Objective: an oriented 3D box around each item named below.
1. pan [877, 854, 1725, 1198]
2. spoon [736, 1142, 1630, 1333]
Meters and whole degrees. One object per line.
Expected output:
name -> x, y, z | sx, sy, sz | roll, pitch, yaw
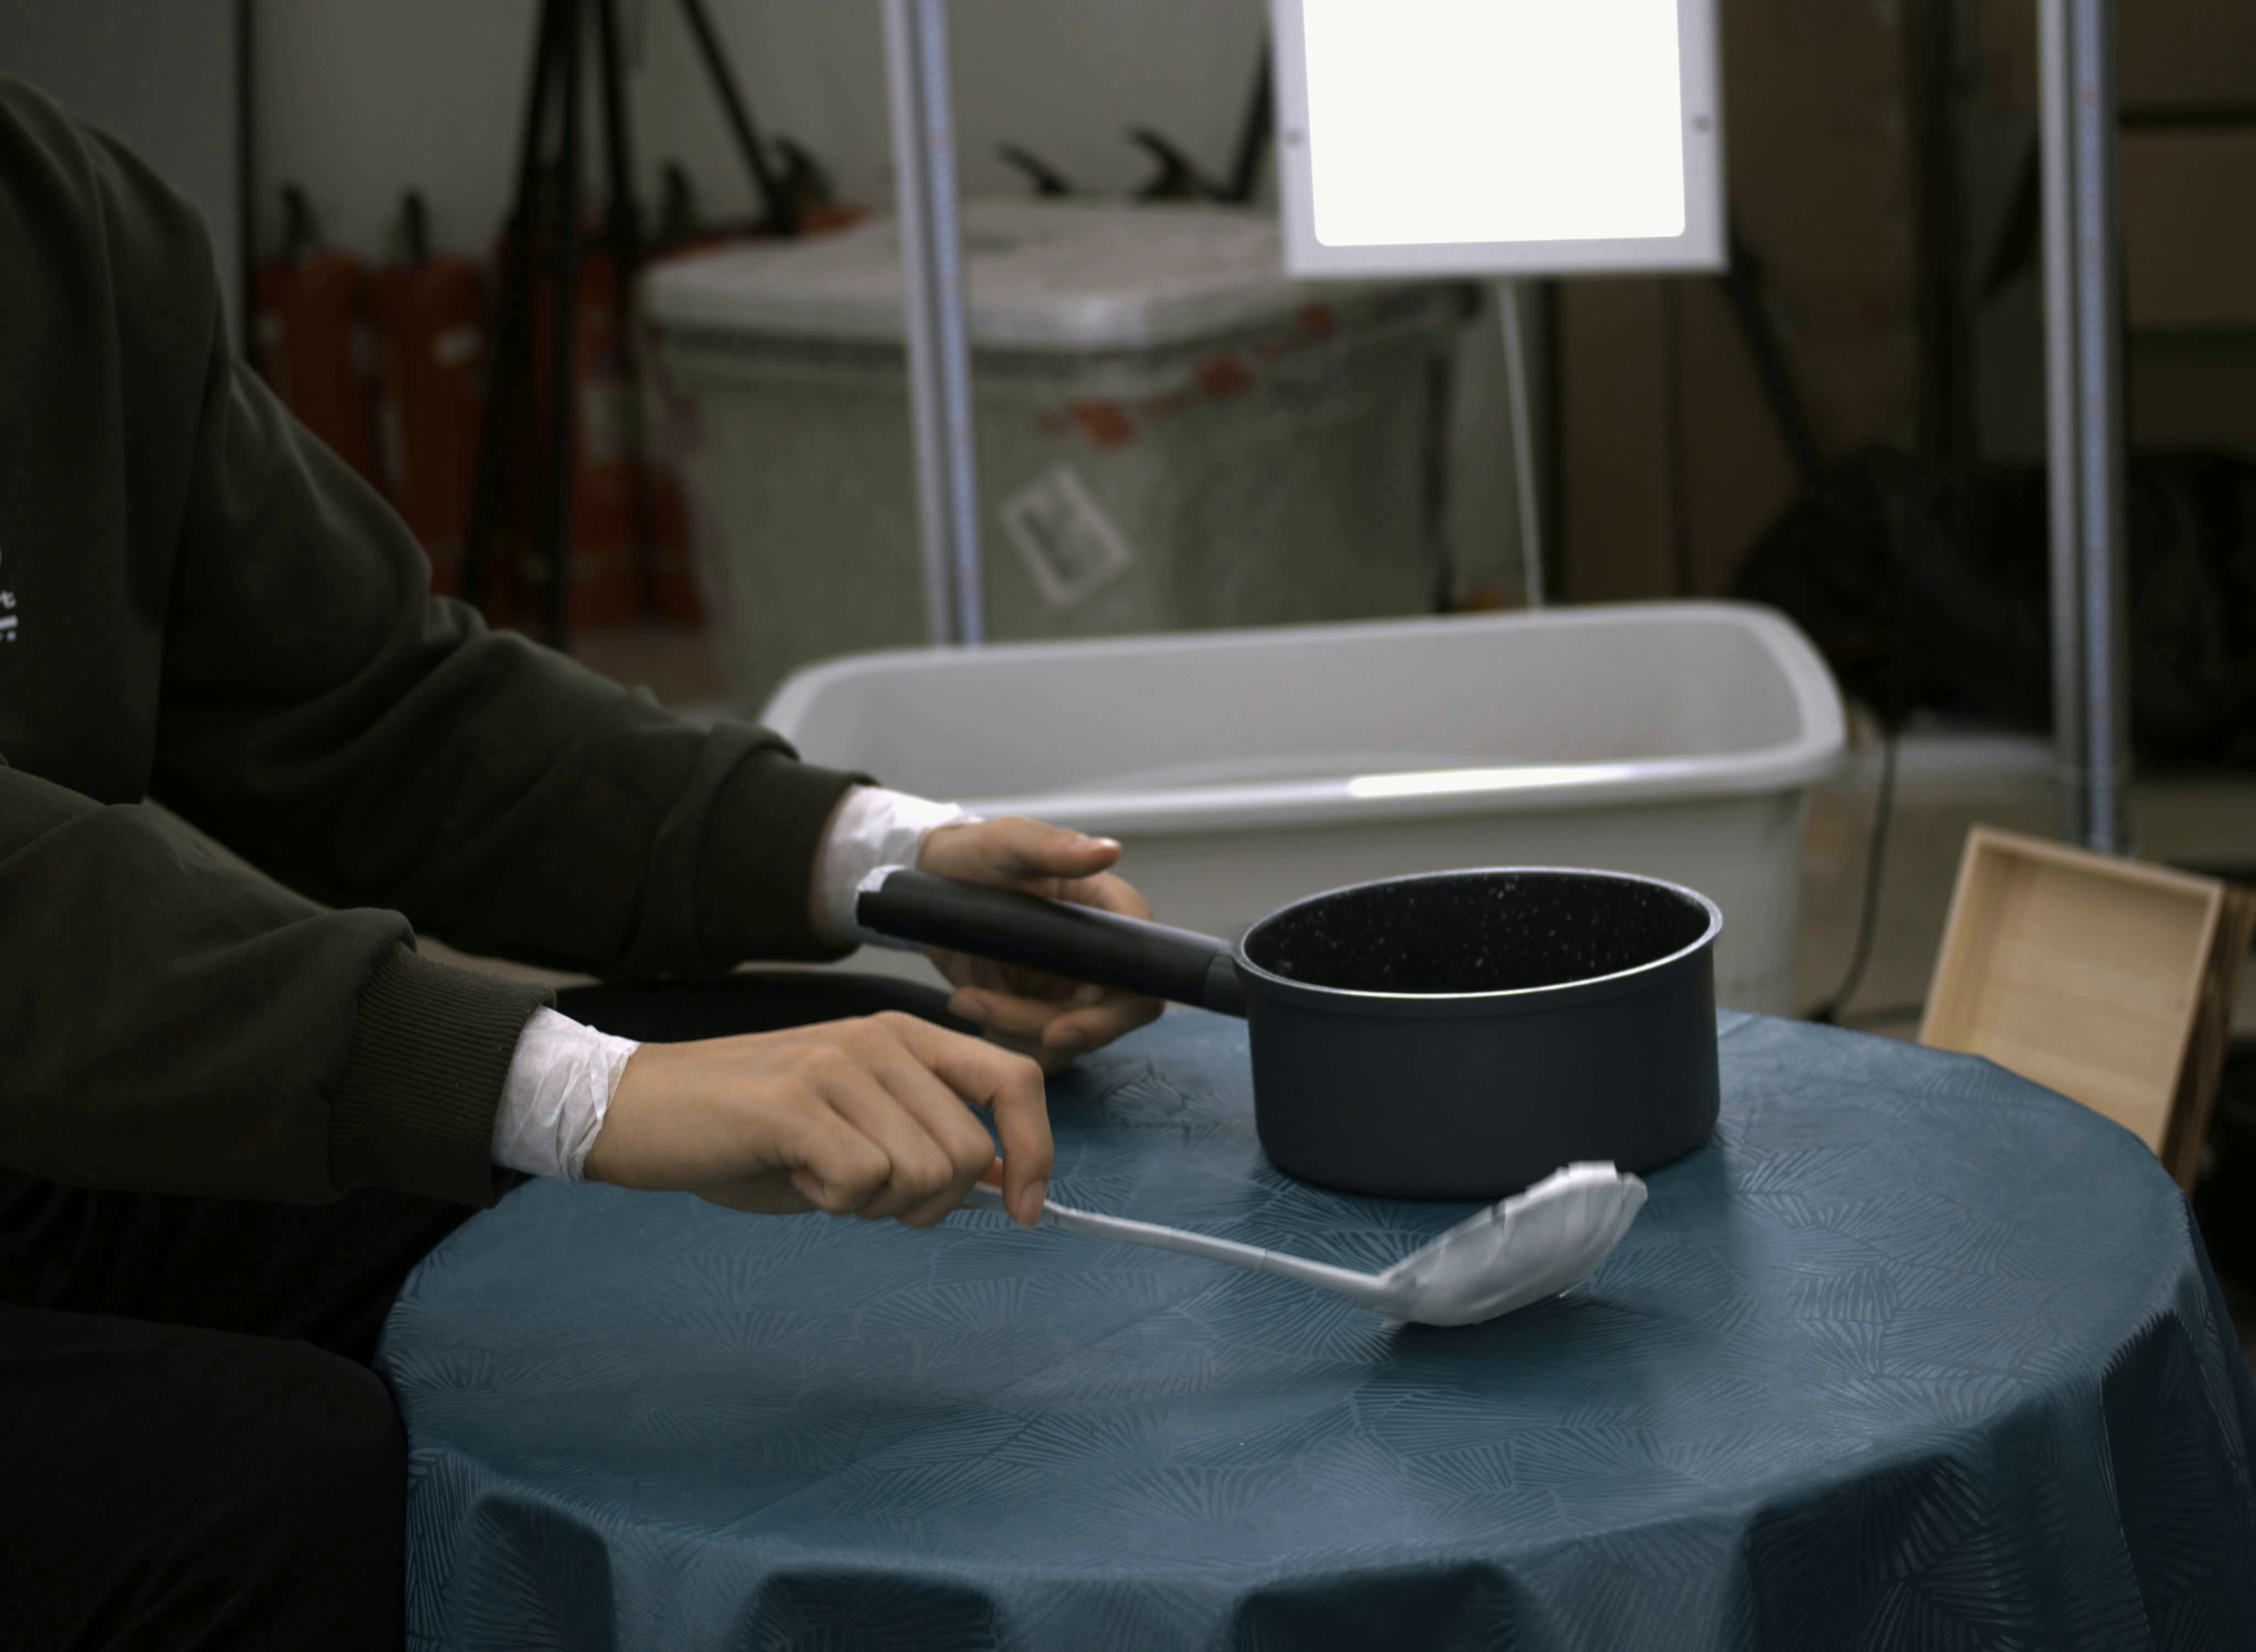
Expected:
pan -> 0.056, 0.064, 1.962 | 0.335, 0.087, 0.168 | 4, 15, 31
spoon -> 0.018, 0.117, 1.728 | 0.277, 0.101, 0.059 | 8, 56, 4
